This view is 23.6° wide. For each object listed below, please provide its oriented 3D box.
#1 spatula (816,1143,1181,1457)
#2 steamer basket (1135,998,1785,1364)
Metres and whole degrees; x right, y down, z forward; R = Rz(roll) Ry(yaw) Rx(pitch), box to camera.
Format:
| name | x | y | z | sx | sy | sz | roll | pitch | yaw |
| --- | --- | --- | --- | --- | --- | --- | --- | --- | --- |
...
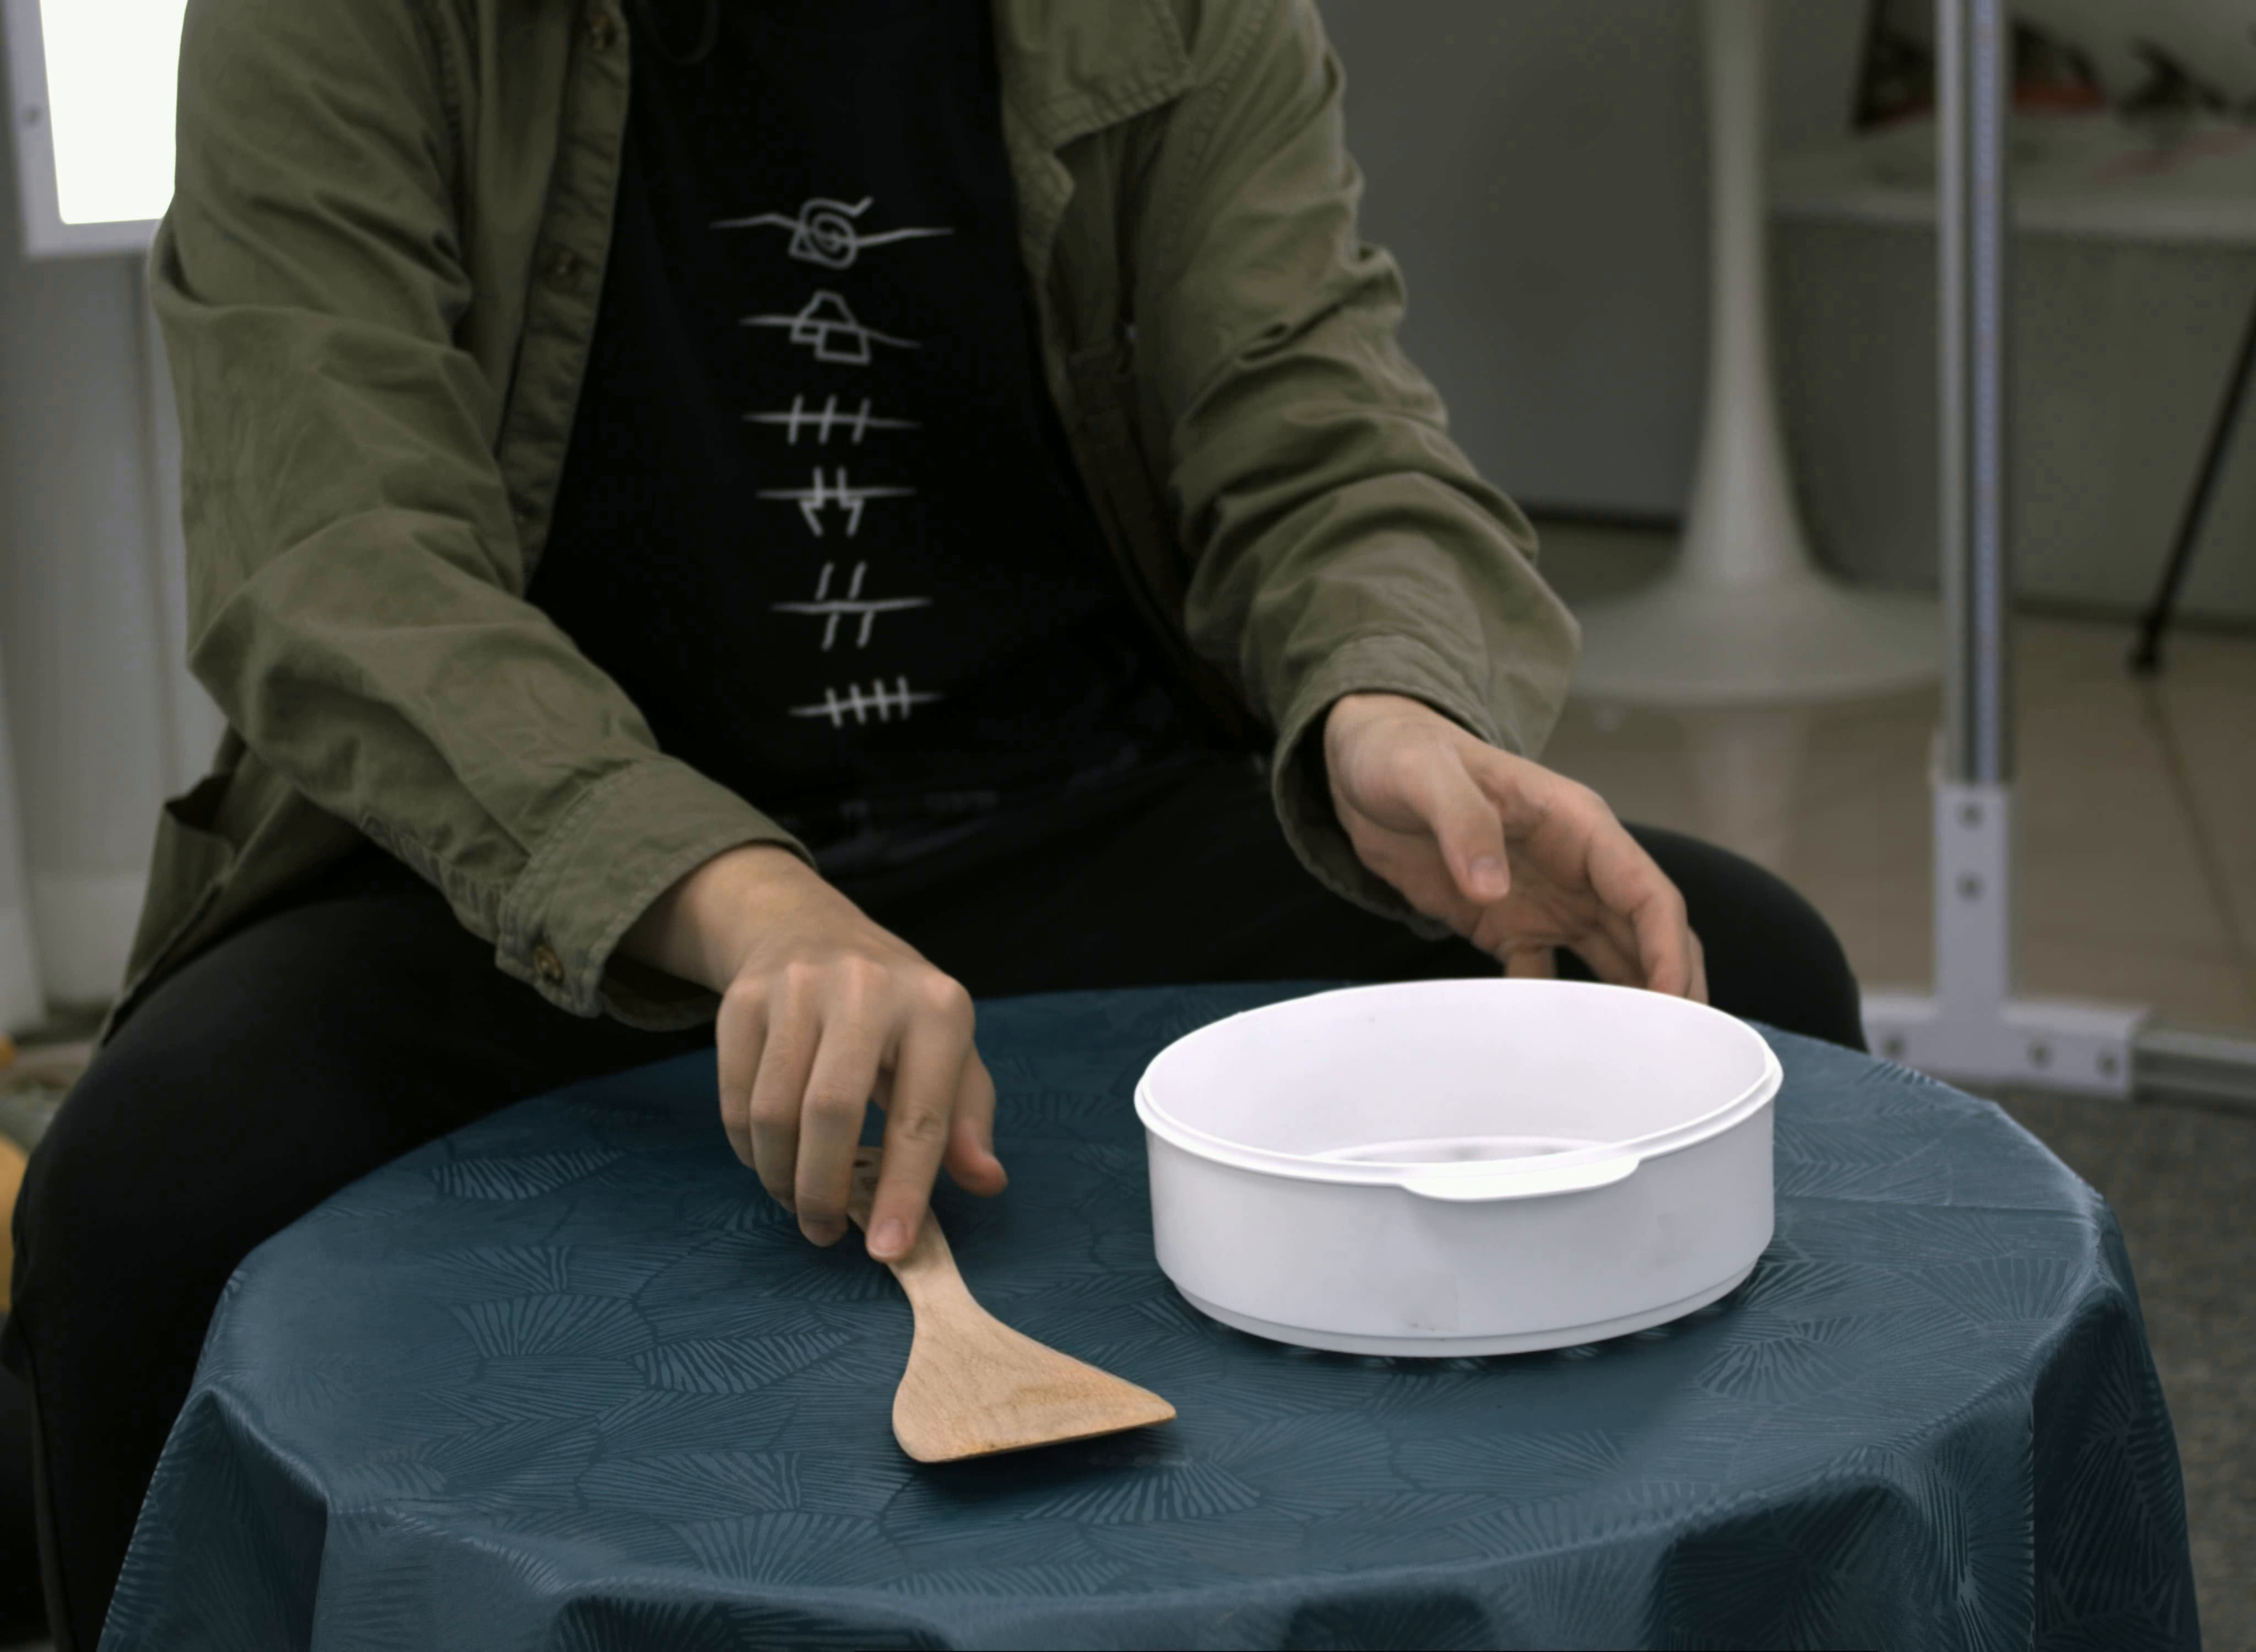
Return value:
| name | x | y | z | sx | sy | sz | roll | pitch | yaw |
| --- | --- | --- | --- | --- | --- | --- | --- | --- | --- |
| spatula | -0.055 | 0.142 | 1.667 | 0.078 | 0.017 | 0.330 | -7 | 14 | -12 |
| steamer basket | 0.103 | 0.109 | 1.656 | 0.198 | 0.070 | 0.231 | -5 | 12 | -6 |
